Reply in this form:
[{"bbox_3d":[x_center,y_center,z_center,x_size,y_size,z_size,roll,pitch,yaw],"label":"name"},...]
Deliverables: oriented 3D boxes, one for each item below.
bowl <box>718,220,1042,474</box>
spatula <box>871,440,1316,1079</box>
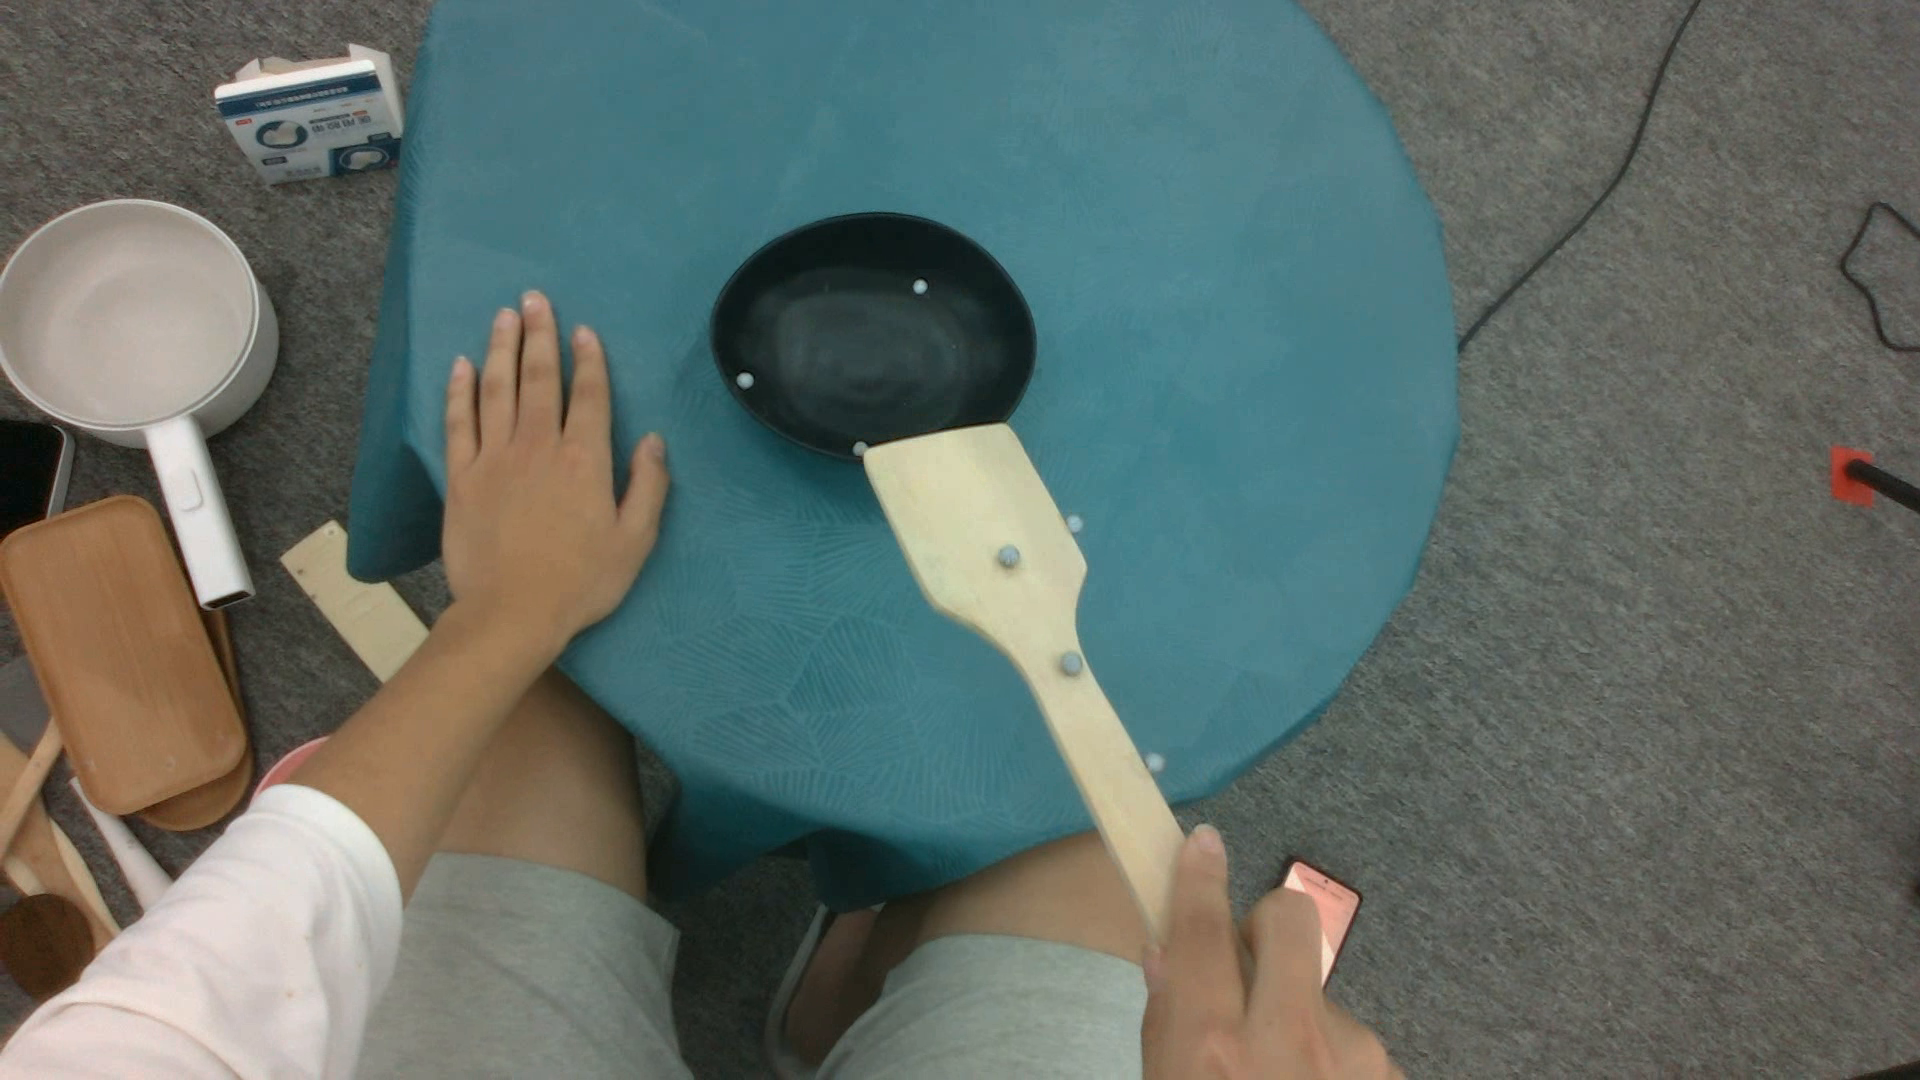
[{"bbox_3d":[-0.044,-0.096,0.744,0.170,0.066,0.137,-1,78,-8],"label":"bowl"},{"bbox_3d":[0.048,0.069,0.517,0.072,0.010,0.294,-13,52,-20],"label":"spatula"}]
